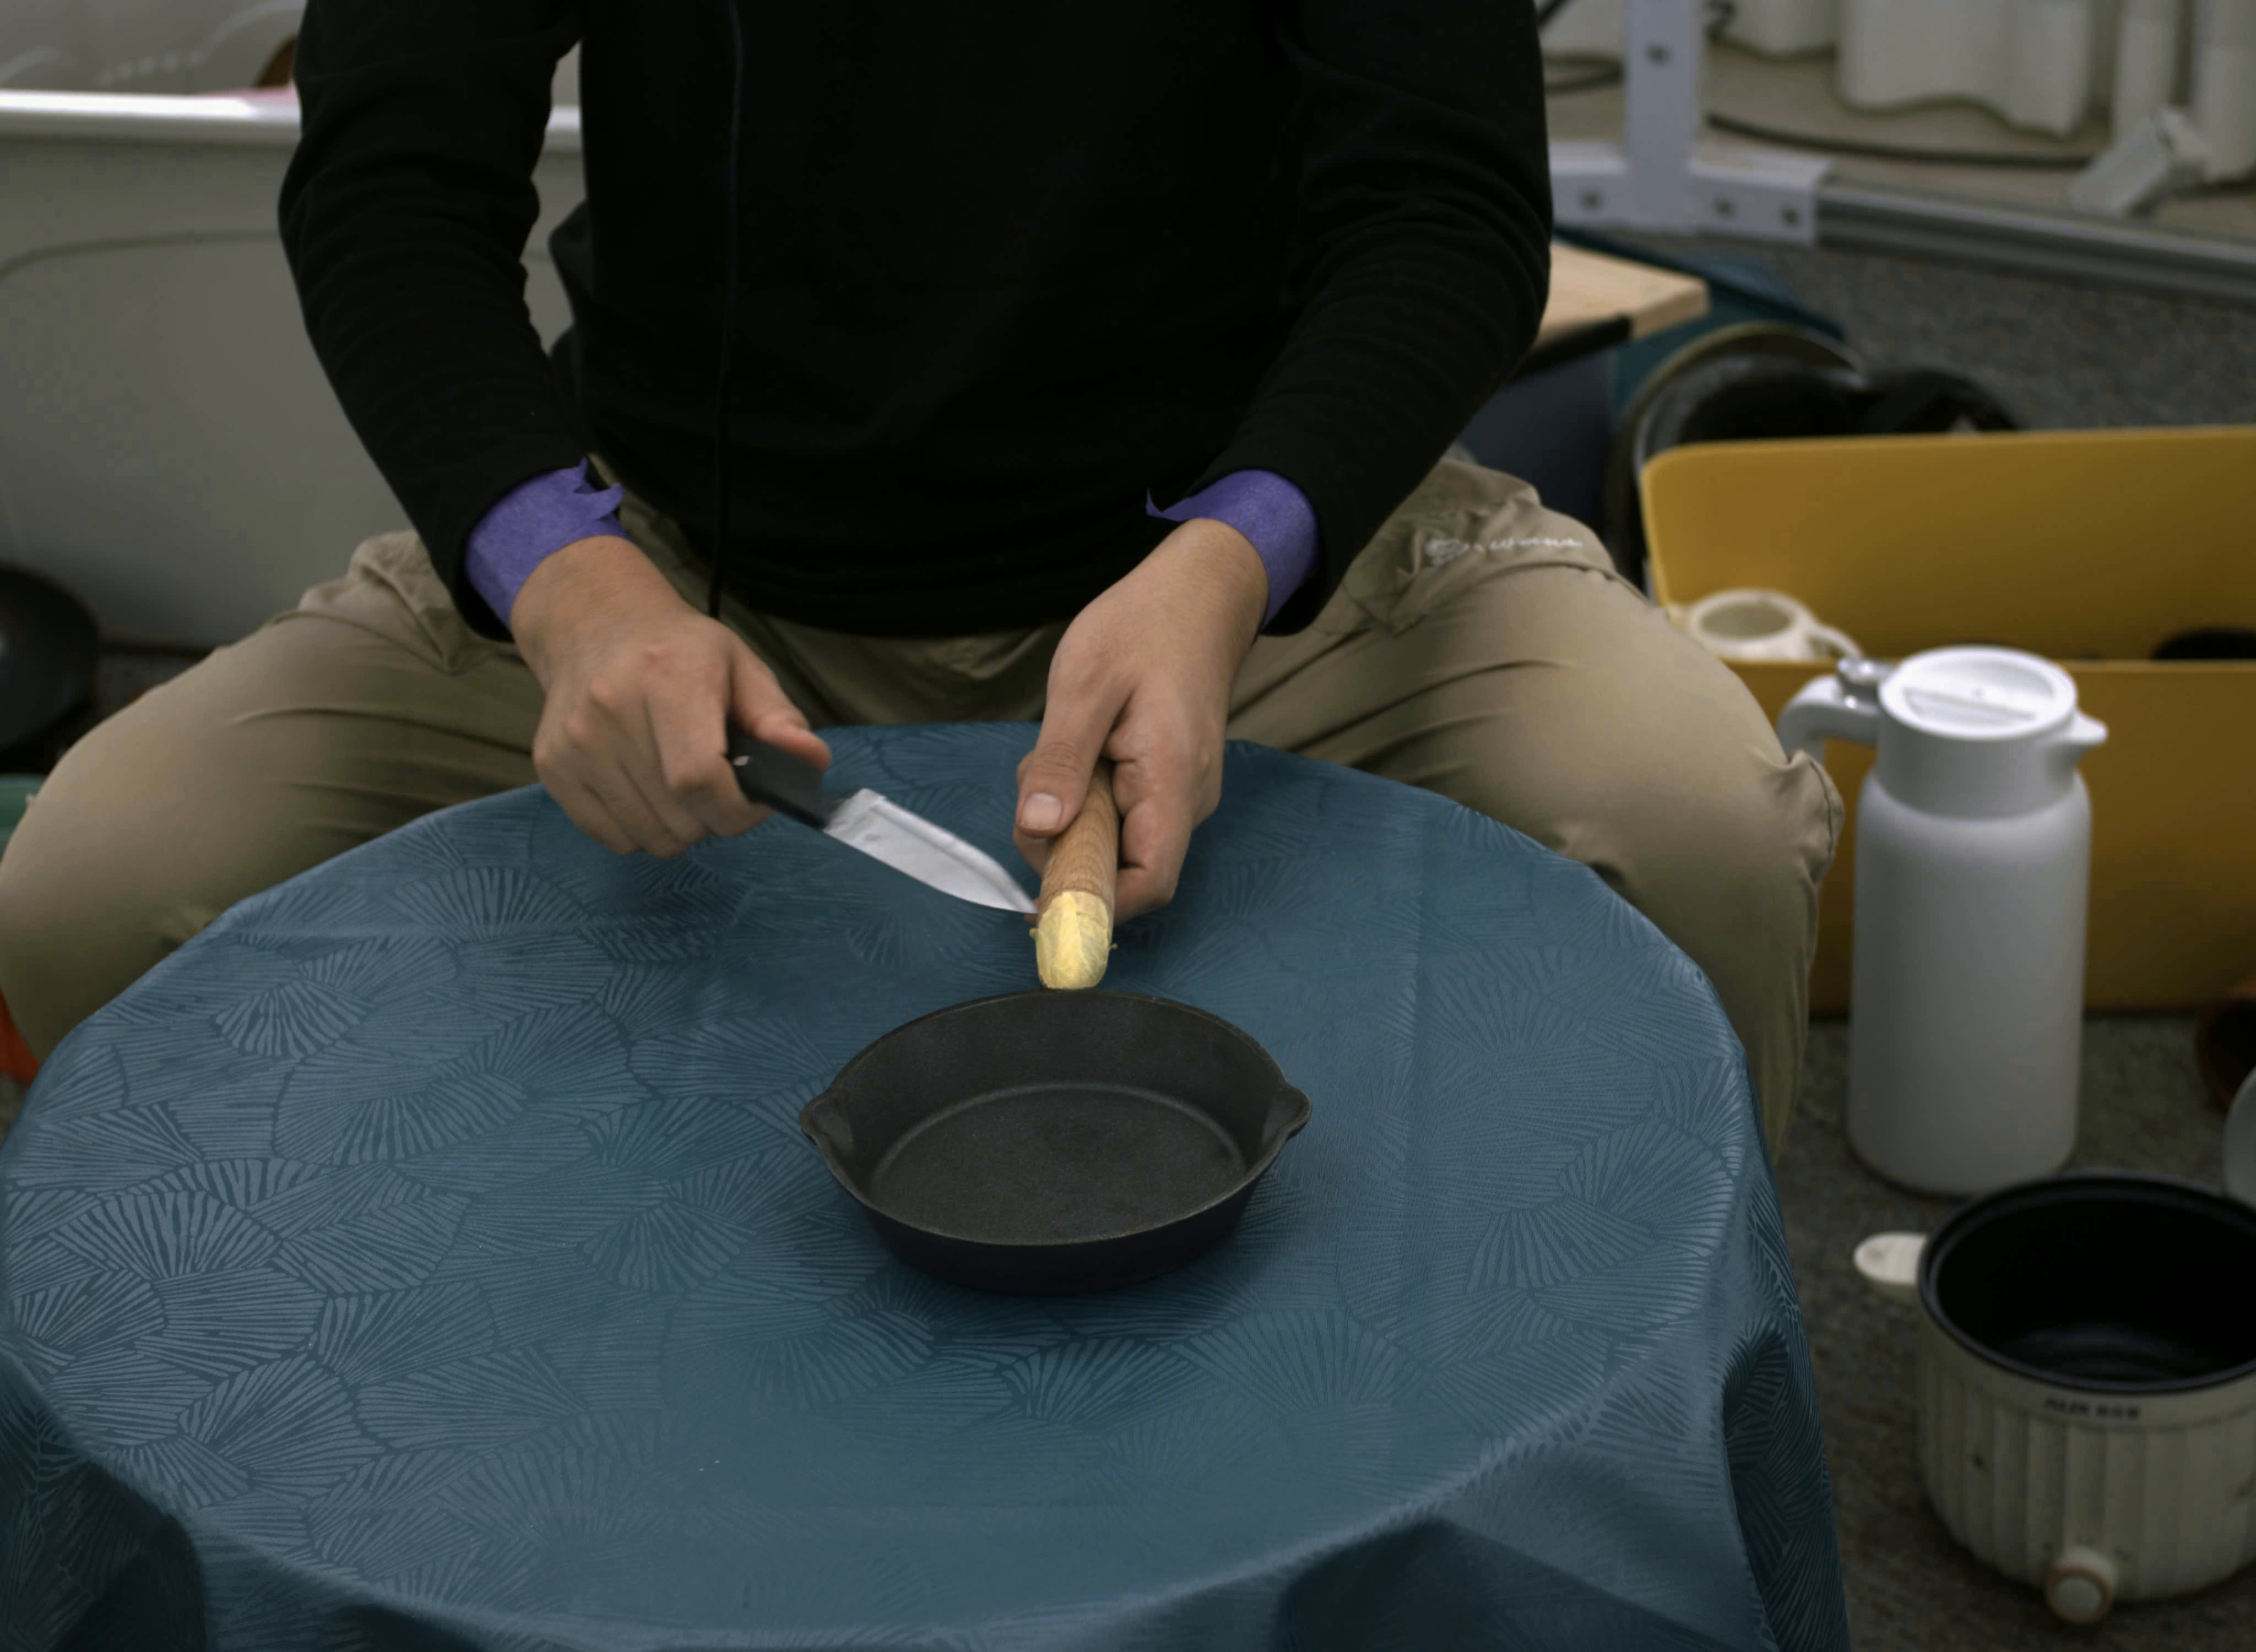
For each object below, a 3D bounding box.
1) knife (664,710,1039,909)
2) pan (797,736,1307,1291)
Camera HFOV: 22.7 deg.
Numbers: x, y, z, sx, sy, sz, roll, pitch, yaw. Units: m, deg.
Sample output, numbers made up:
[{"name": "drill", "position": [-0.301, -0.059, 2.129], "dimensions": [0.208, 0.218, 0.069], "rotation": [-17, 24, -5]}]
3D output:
[{"name": "knife", "position": [-0.098, -0.002, 1.931], "dimensions": [0.024, 0.016, 0.238], "rotation": [-43, 35, -16]}, {"name": "pan", "position": [-0.018, 0.061, 1.922], "dimensions": [0.168, 0.049, 0.329], "rotation": [0, 28, 5]}]
